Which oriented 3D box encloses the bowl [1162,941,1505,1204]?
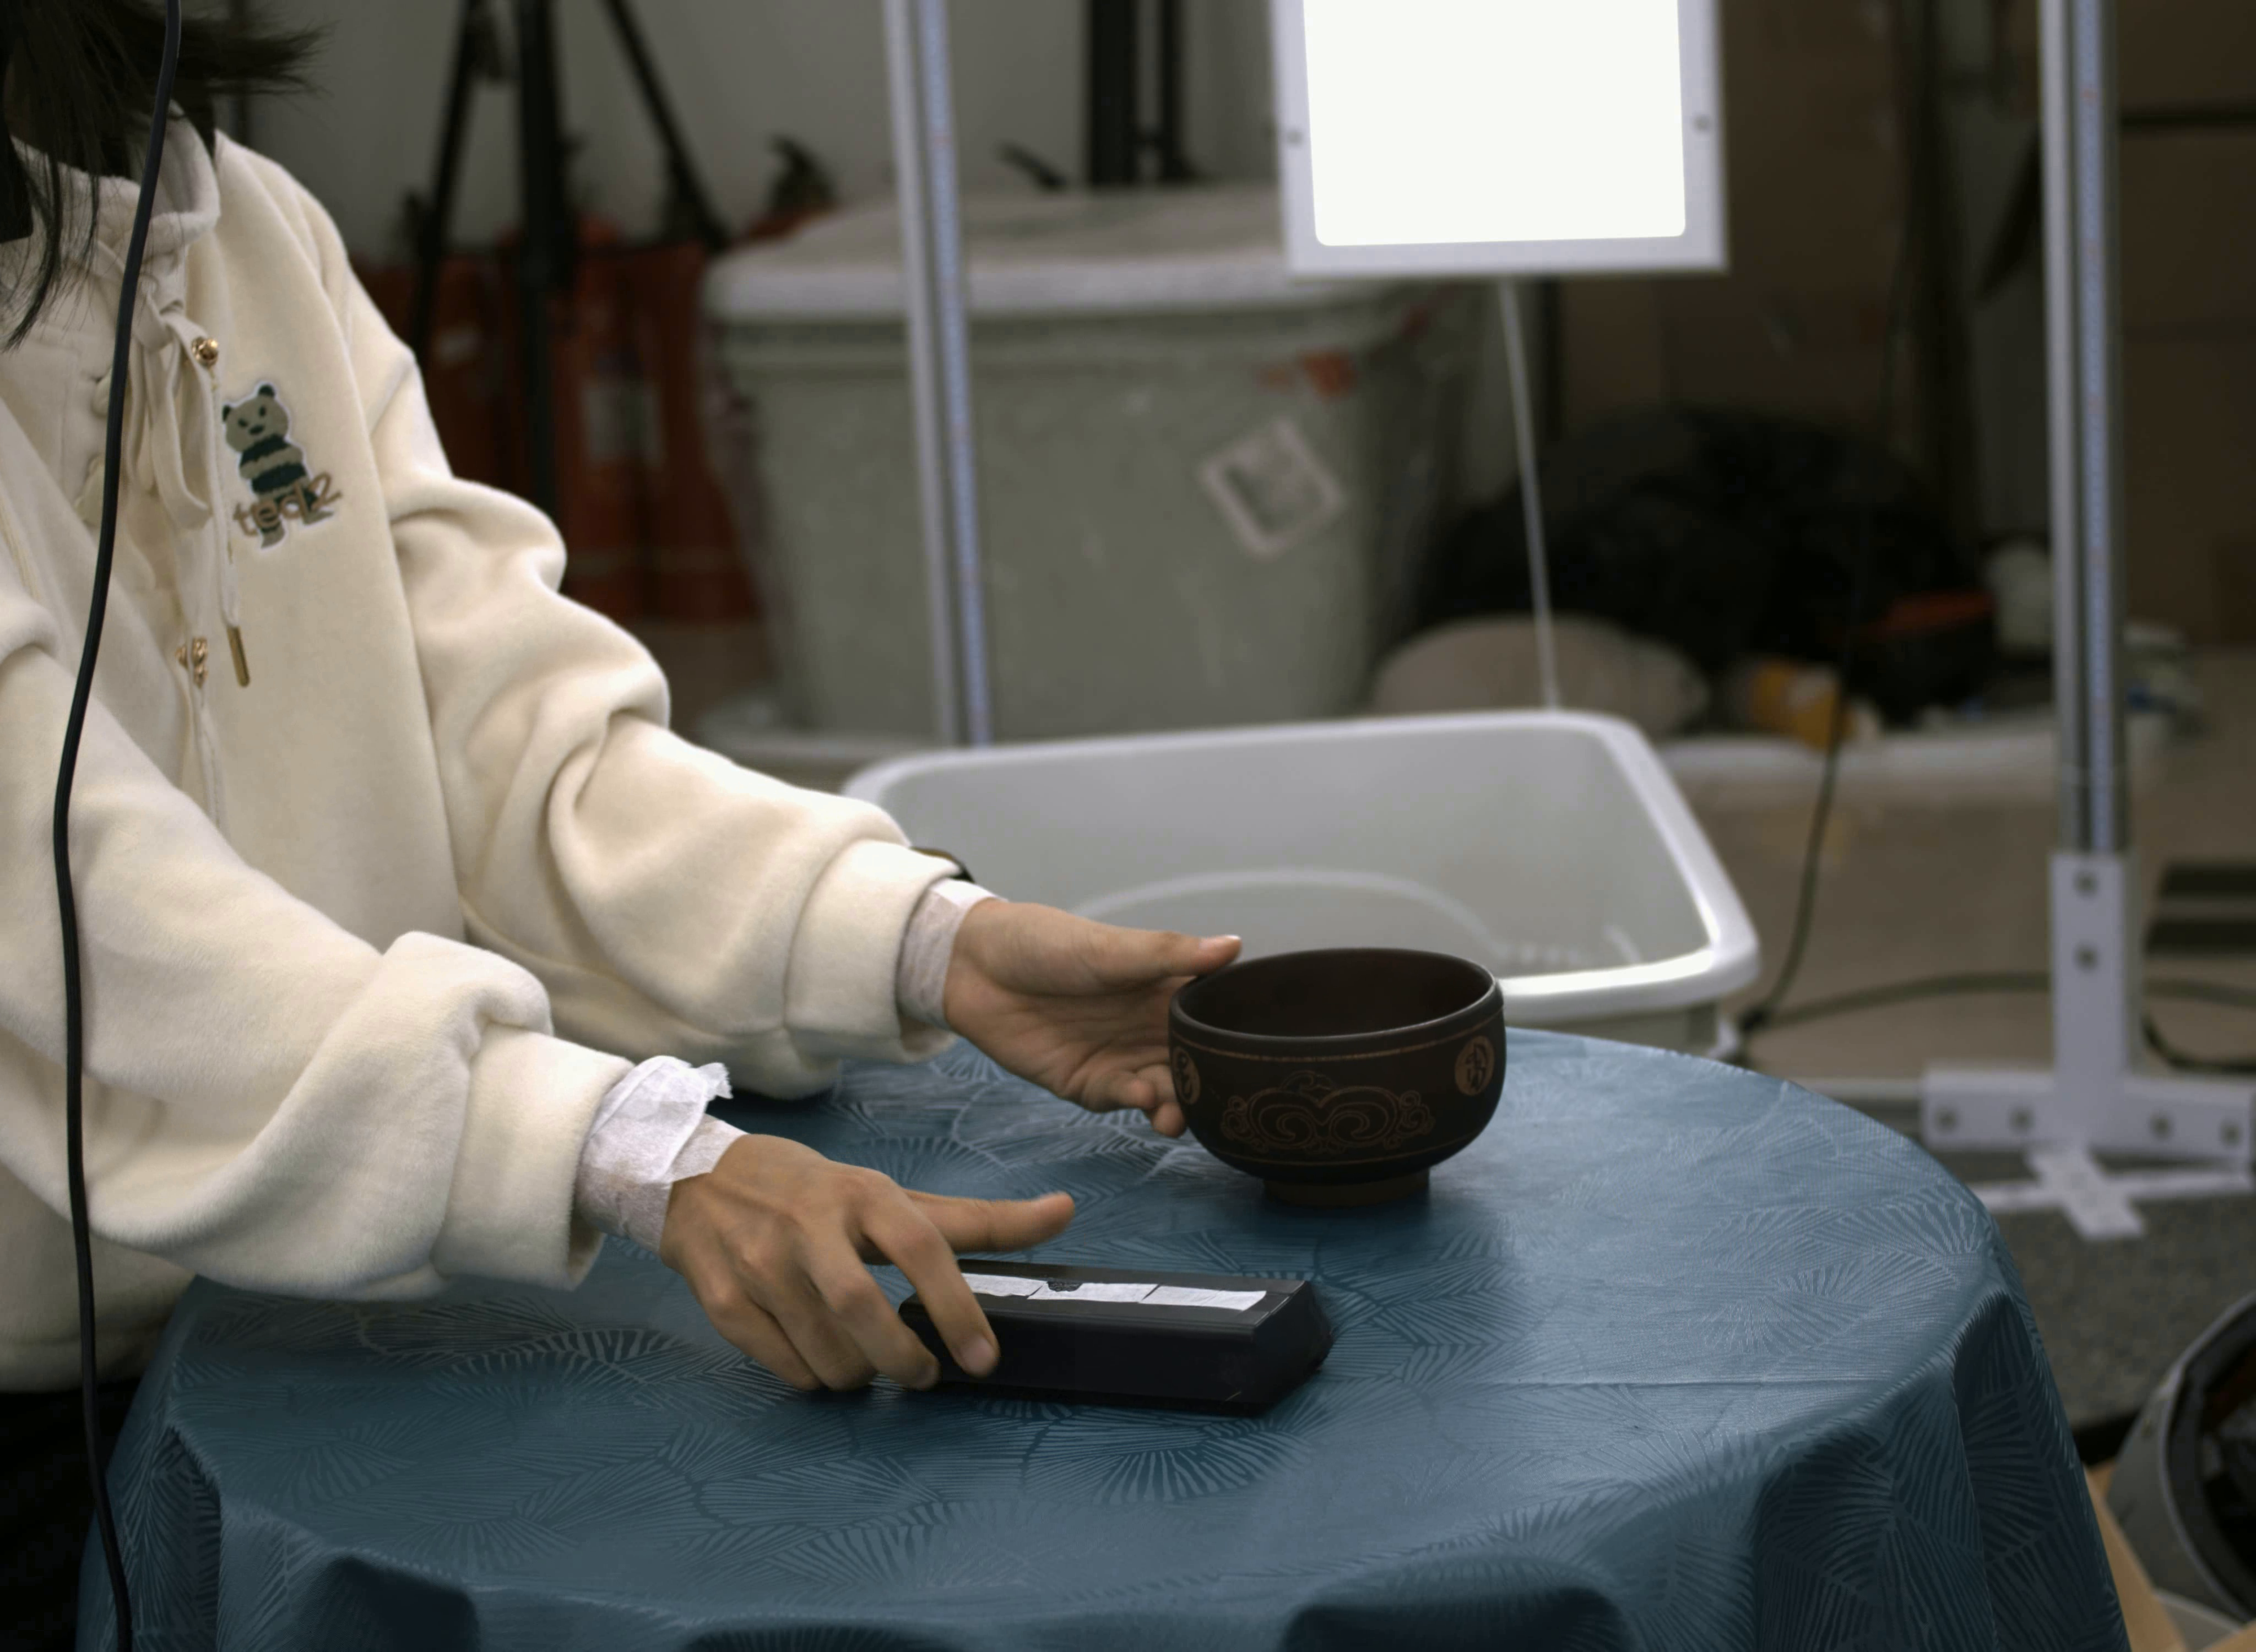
[{"bbox_3d":[0.072,0.088,1.879,0.118,0.070,0.118,-6,14,0],"label":"bowl"}]

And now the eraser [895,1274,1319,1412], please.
[{"bbox_3d":[-0.005,0.160,1.709,0.127,0.030,0.052,-1,13,25],"label":"eraser"}]
